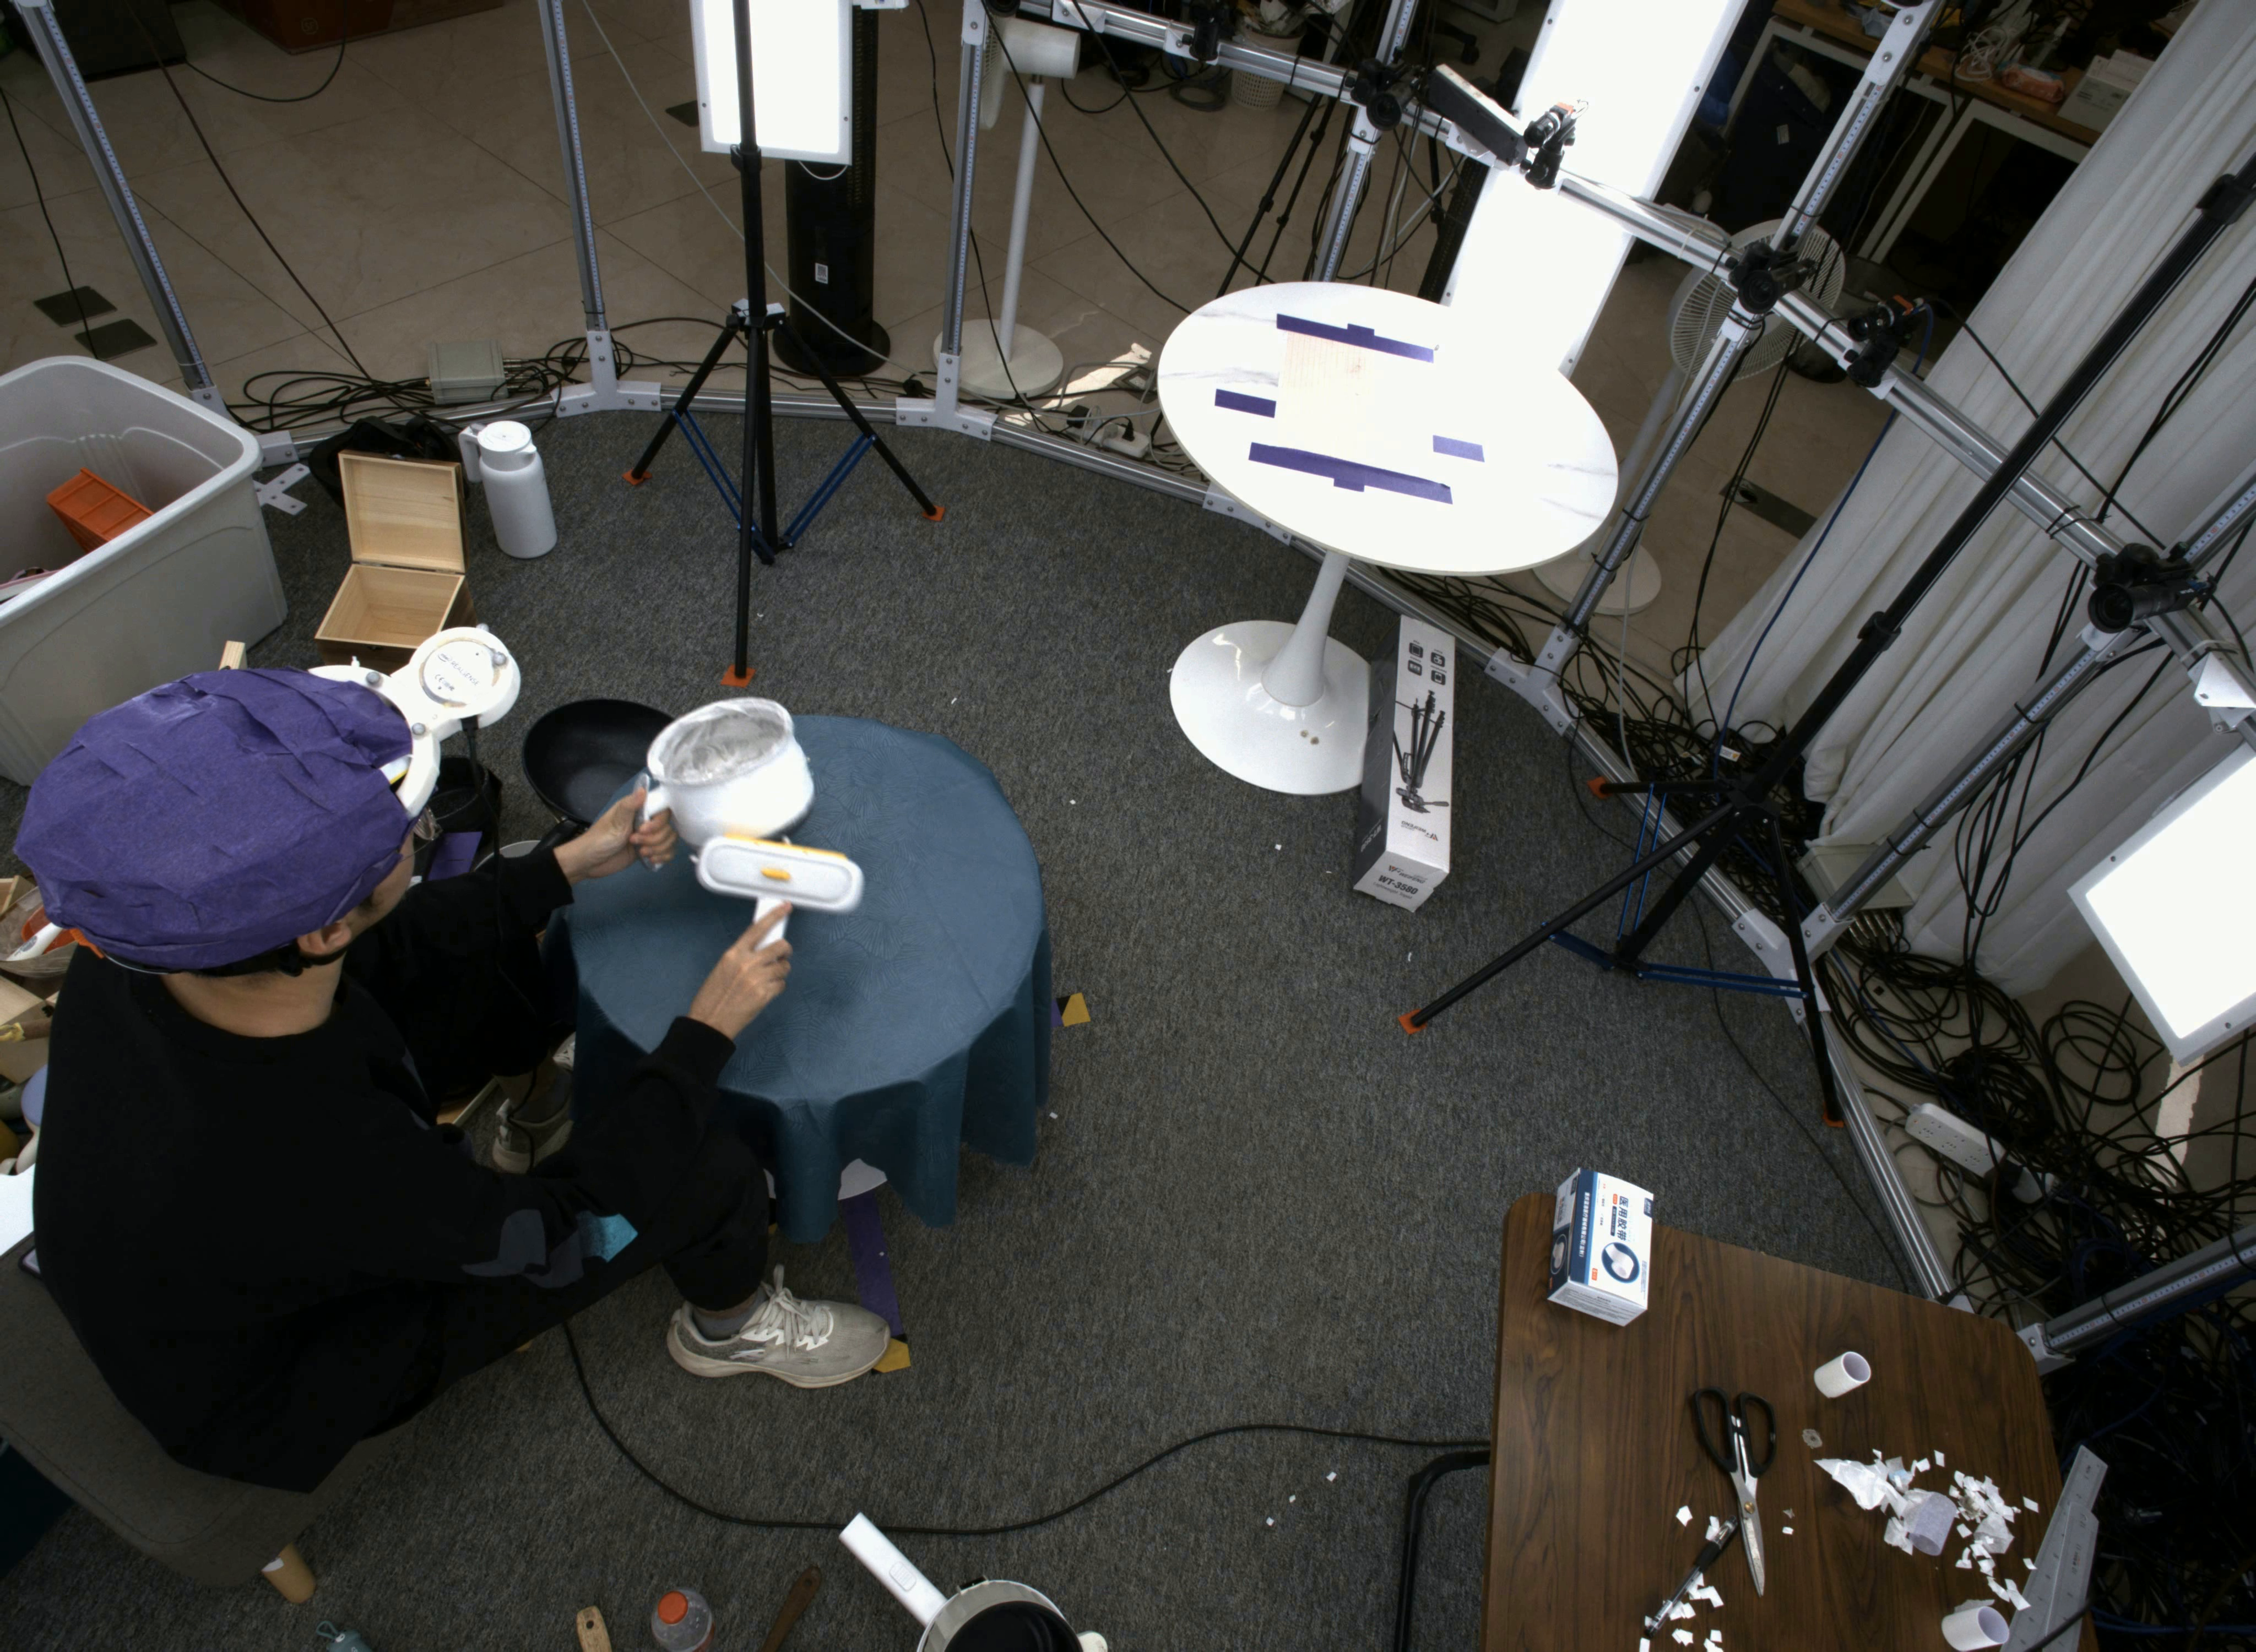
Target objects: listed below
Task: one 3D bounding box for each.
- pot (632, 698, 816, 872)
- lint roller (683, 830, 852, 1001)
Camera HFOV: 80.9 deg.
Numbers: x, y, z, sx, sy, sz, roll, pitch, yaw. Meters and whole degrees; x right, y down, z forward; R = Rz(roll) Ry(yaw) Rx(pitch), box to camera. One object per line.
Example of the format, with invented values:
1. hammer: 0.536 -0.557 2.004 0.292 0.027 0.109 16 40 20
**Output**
1. pot: -0.501 -0.042 1.572 0.234 0.141 0.172 -32 44 -28
2. lint roller: -0.424 0.104 1.502 0.194 0.073 0.193 8 79 -18
